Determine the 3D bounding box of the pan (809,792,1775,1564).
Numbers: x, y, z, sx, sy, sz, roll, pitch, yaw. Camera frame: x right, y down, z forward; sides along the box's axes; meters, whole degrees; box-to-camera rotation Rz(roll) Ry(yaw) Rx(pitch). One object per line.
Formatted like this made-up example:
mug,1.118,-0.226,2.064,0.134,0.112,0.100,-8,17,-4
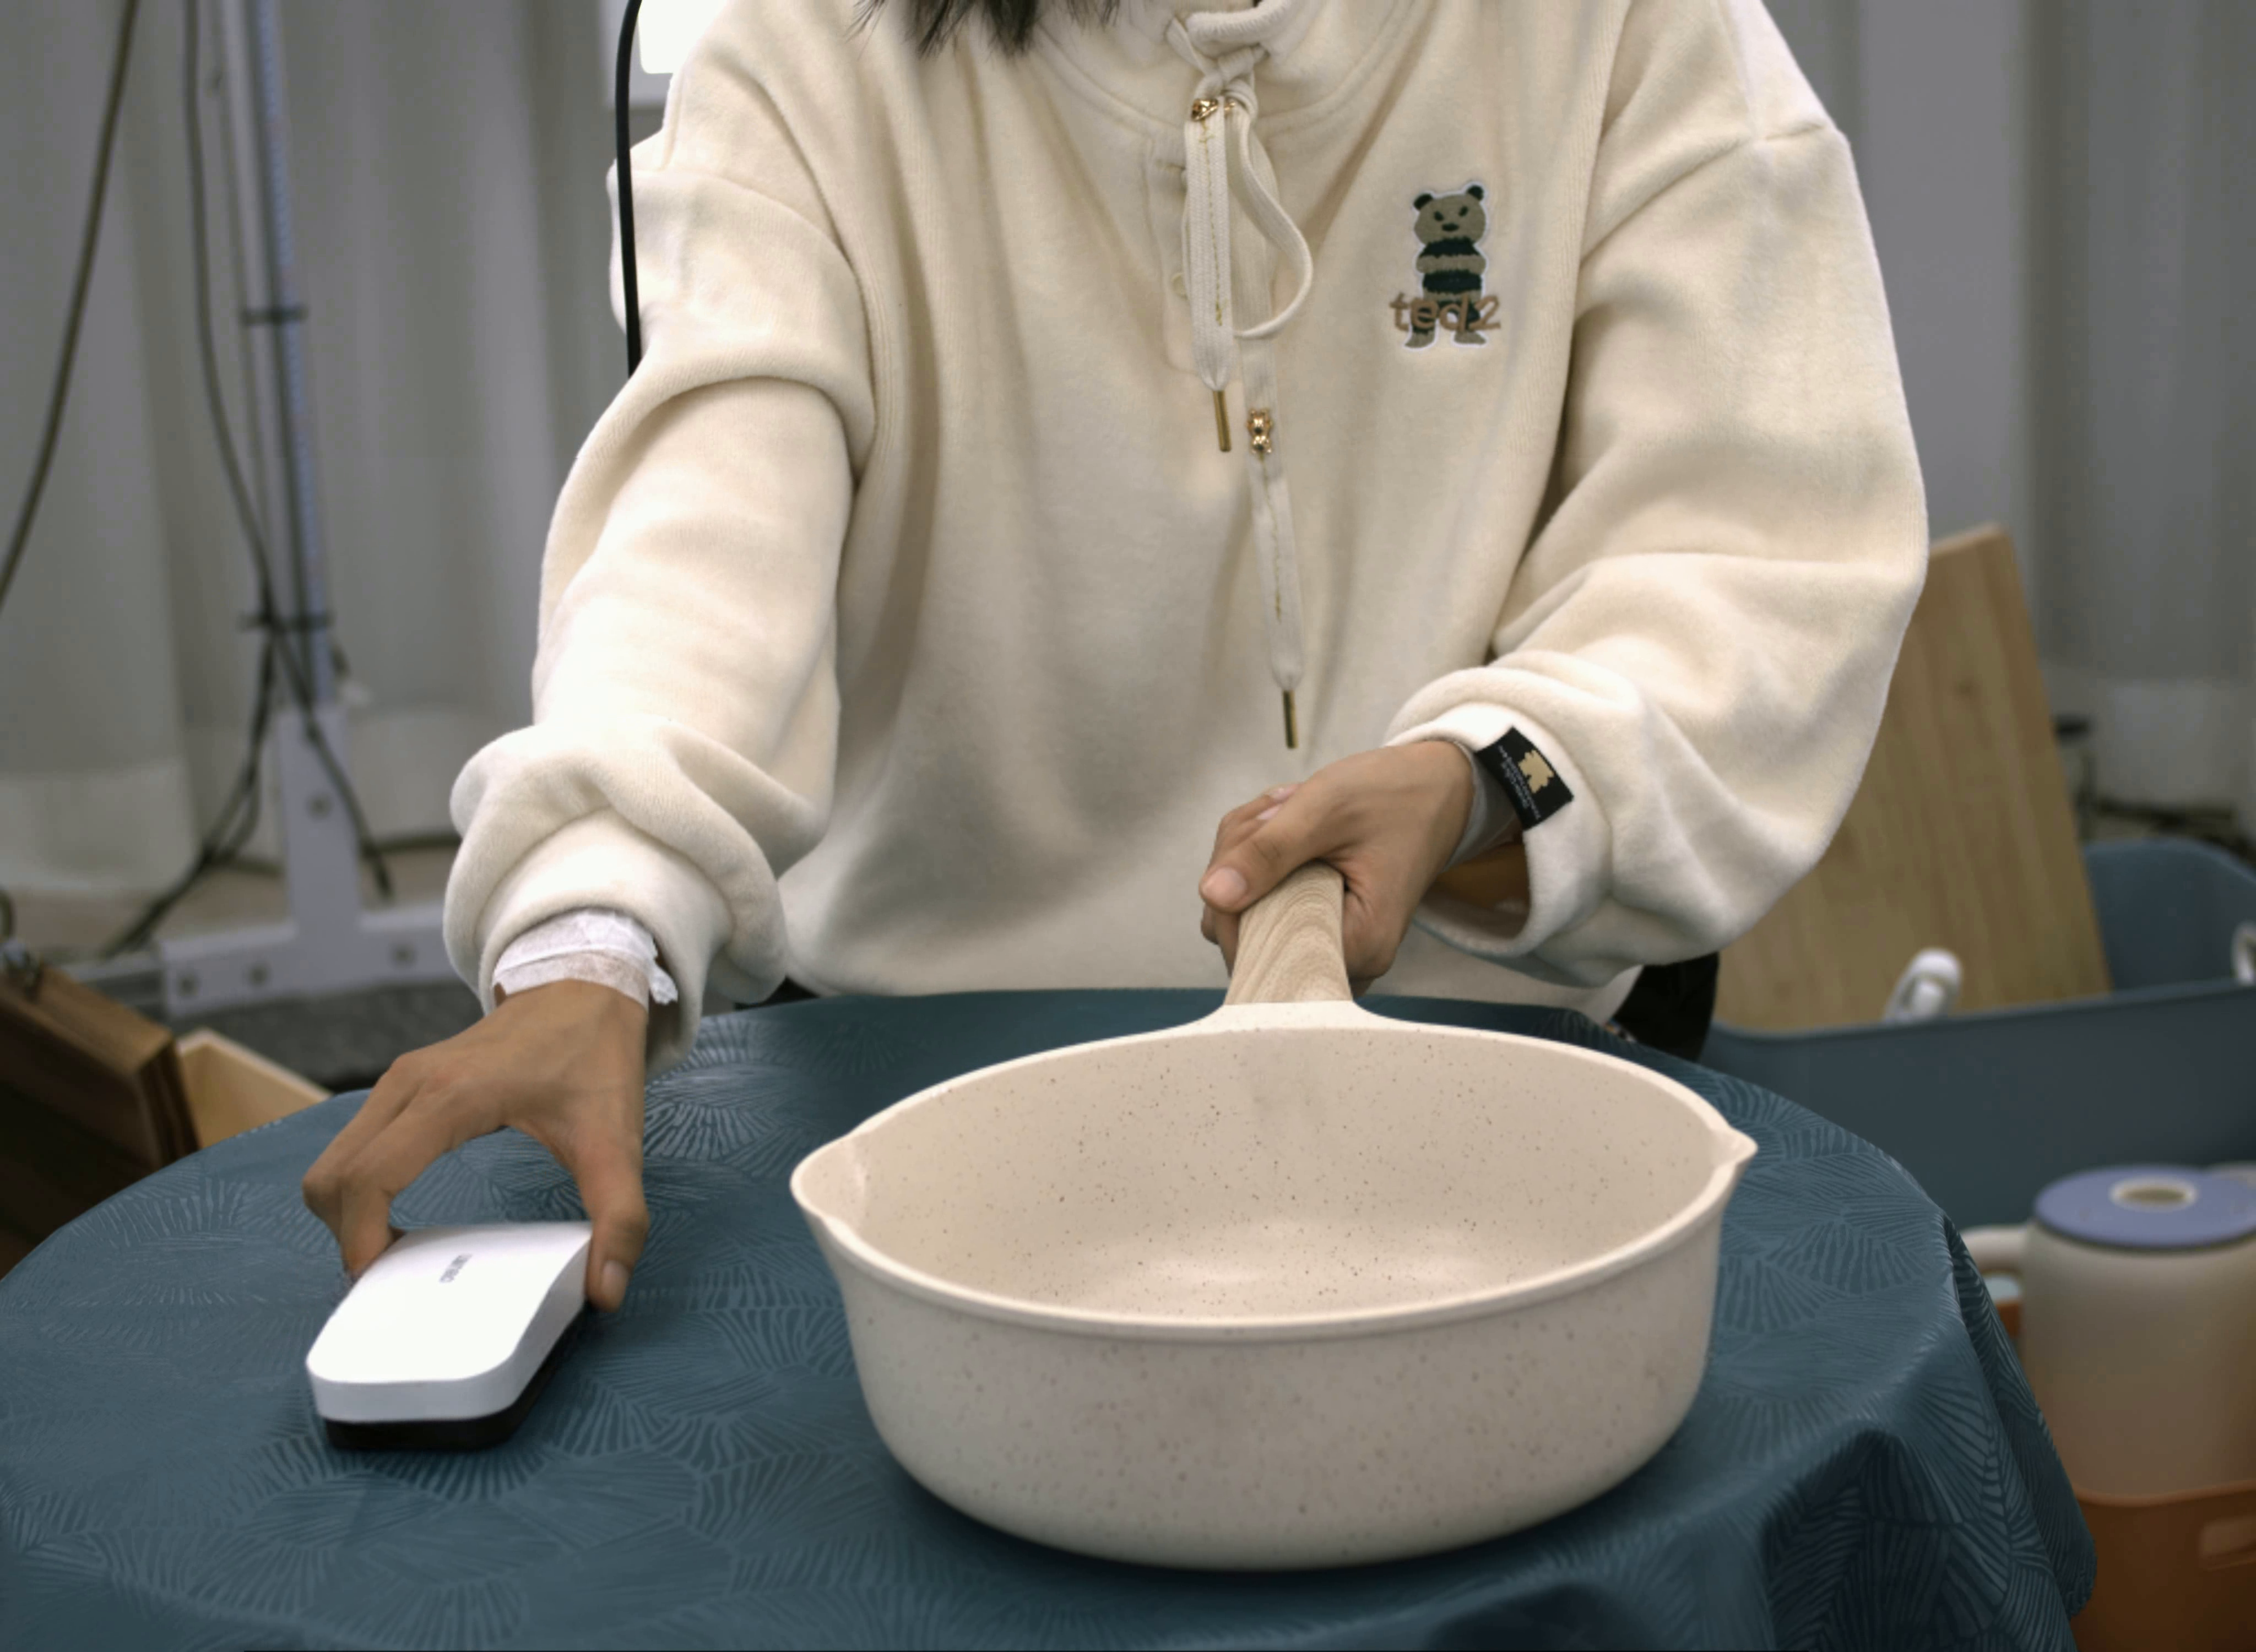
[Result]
pan,0.050,0.095,1.578,0.262,0.101,0.438,-3,15,3

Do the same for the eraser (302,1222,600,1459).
eraser,-0.193,0.144,1.580,0.063,0.034,0.132,1,16,9
